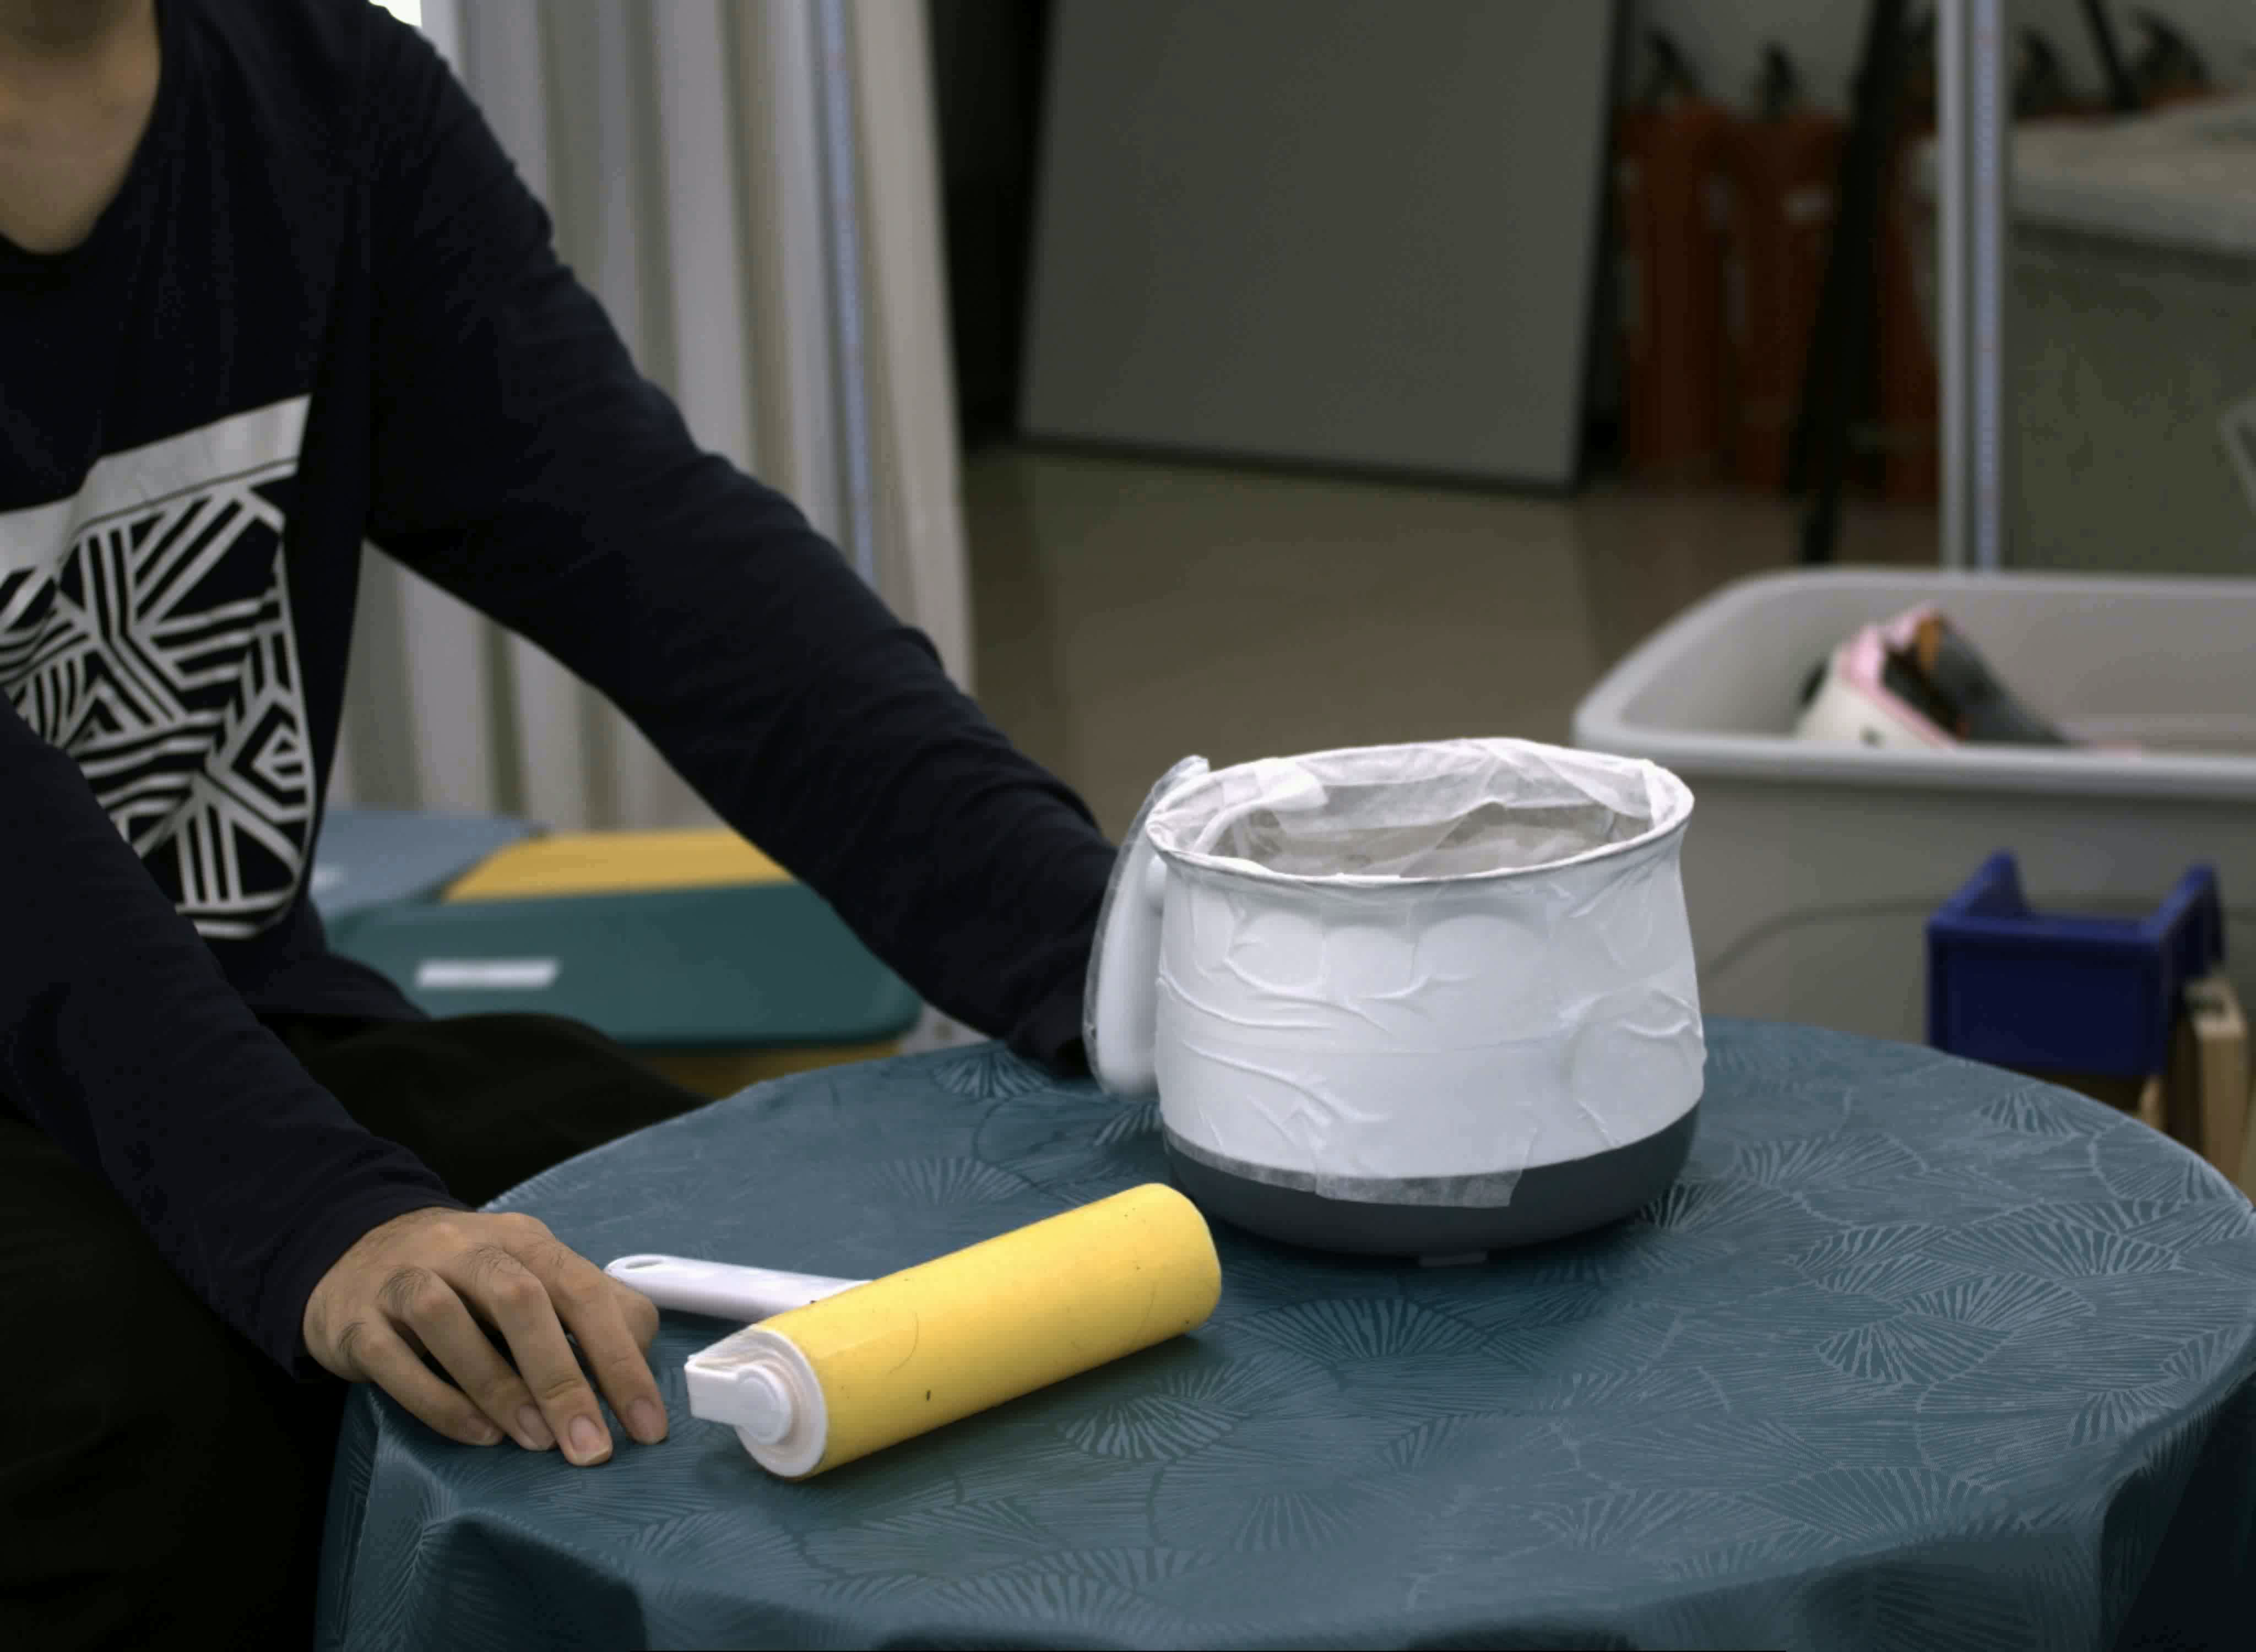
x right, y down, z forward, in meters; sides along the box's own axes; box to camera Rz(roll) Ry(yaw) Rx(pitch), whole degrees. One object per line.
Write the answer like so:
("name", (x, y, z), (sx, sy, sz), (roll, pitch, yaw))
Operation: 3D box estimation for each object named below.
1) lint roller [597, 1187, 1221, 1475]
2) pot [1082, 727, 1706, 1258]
("lint roller", (-0.094, 0.138, 1.628), (0.170, 0.052, 0.194), (-16, 19, -43))
("pot", (0.076, 0.047, 1.747), (0.236, 0.138, 0.175), (11, 18, 41))
